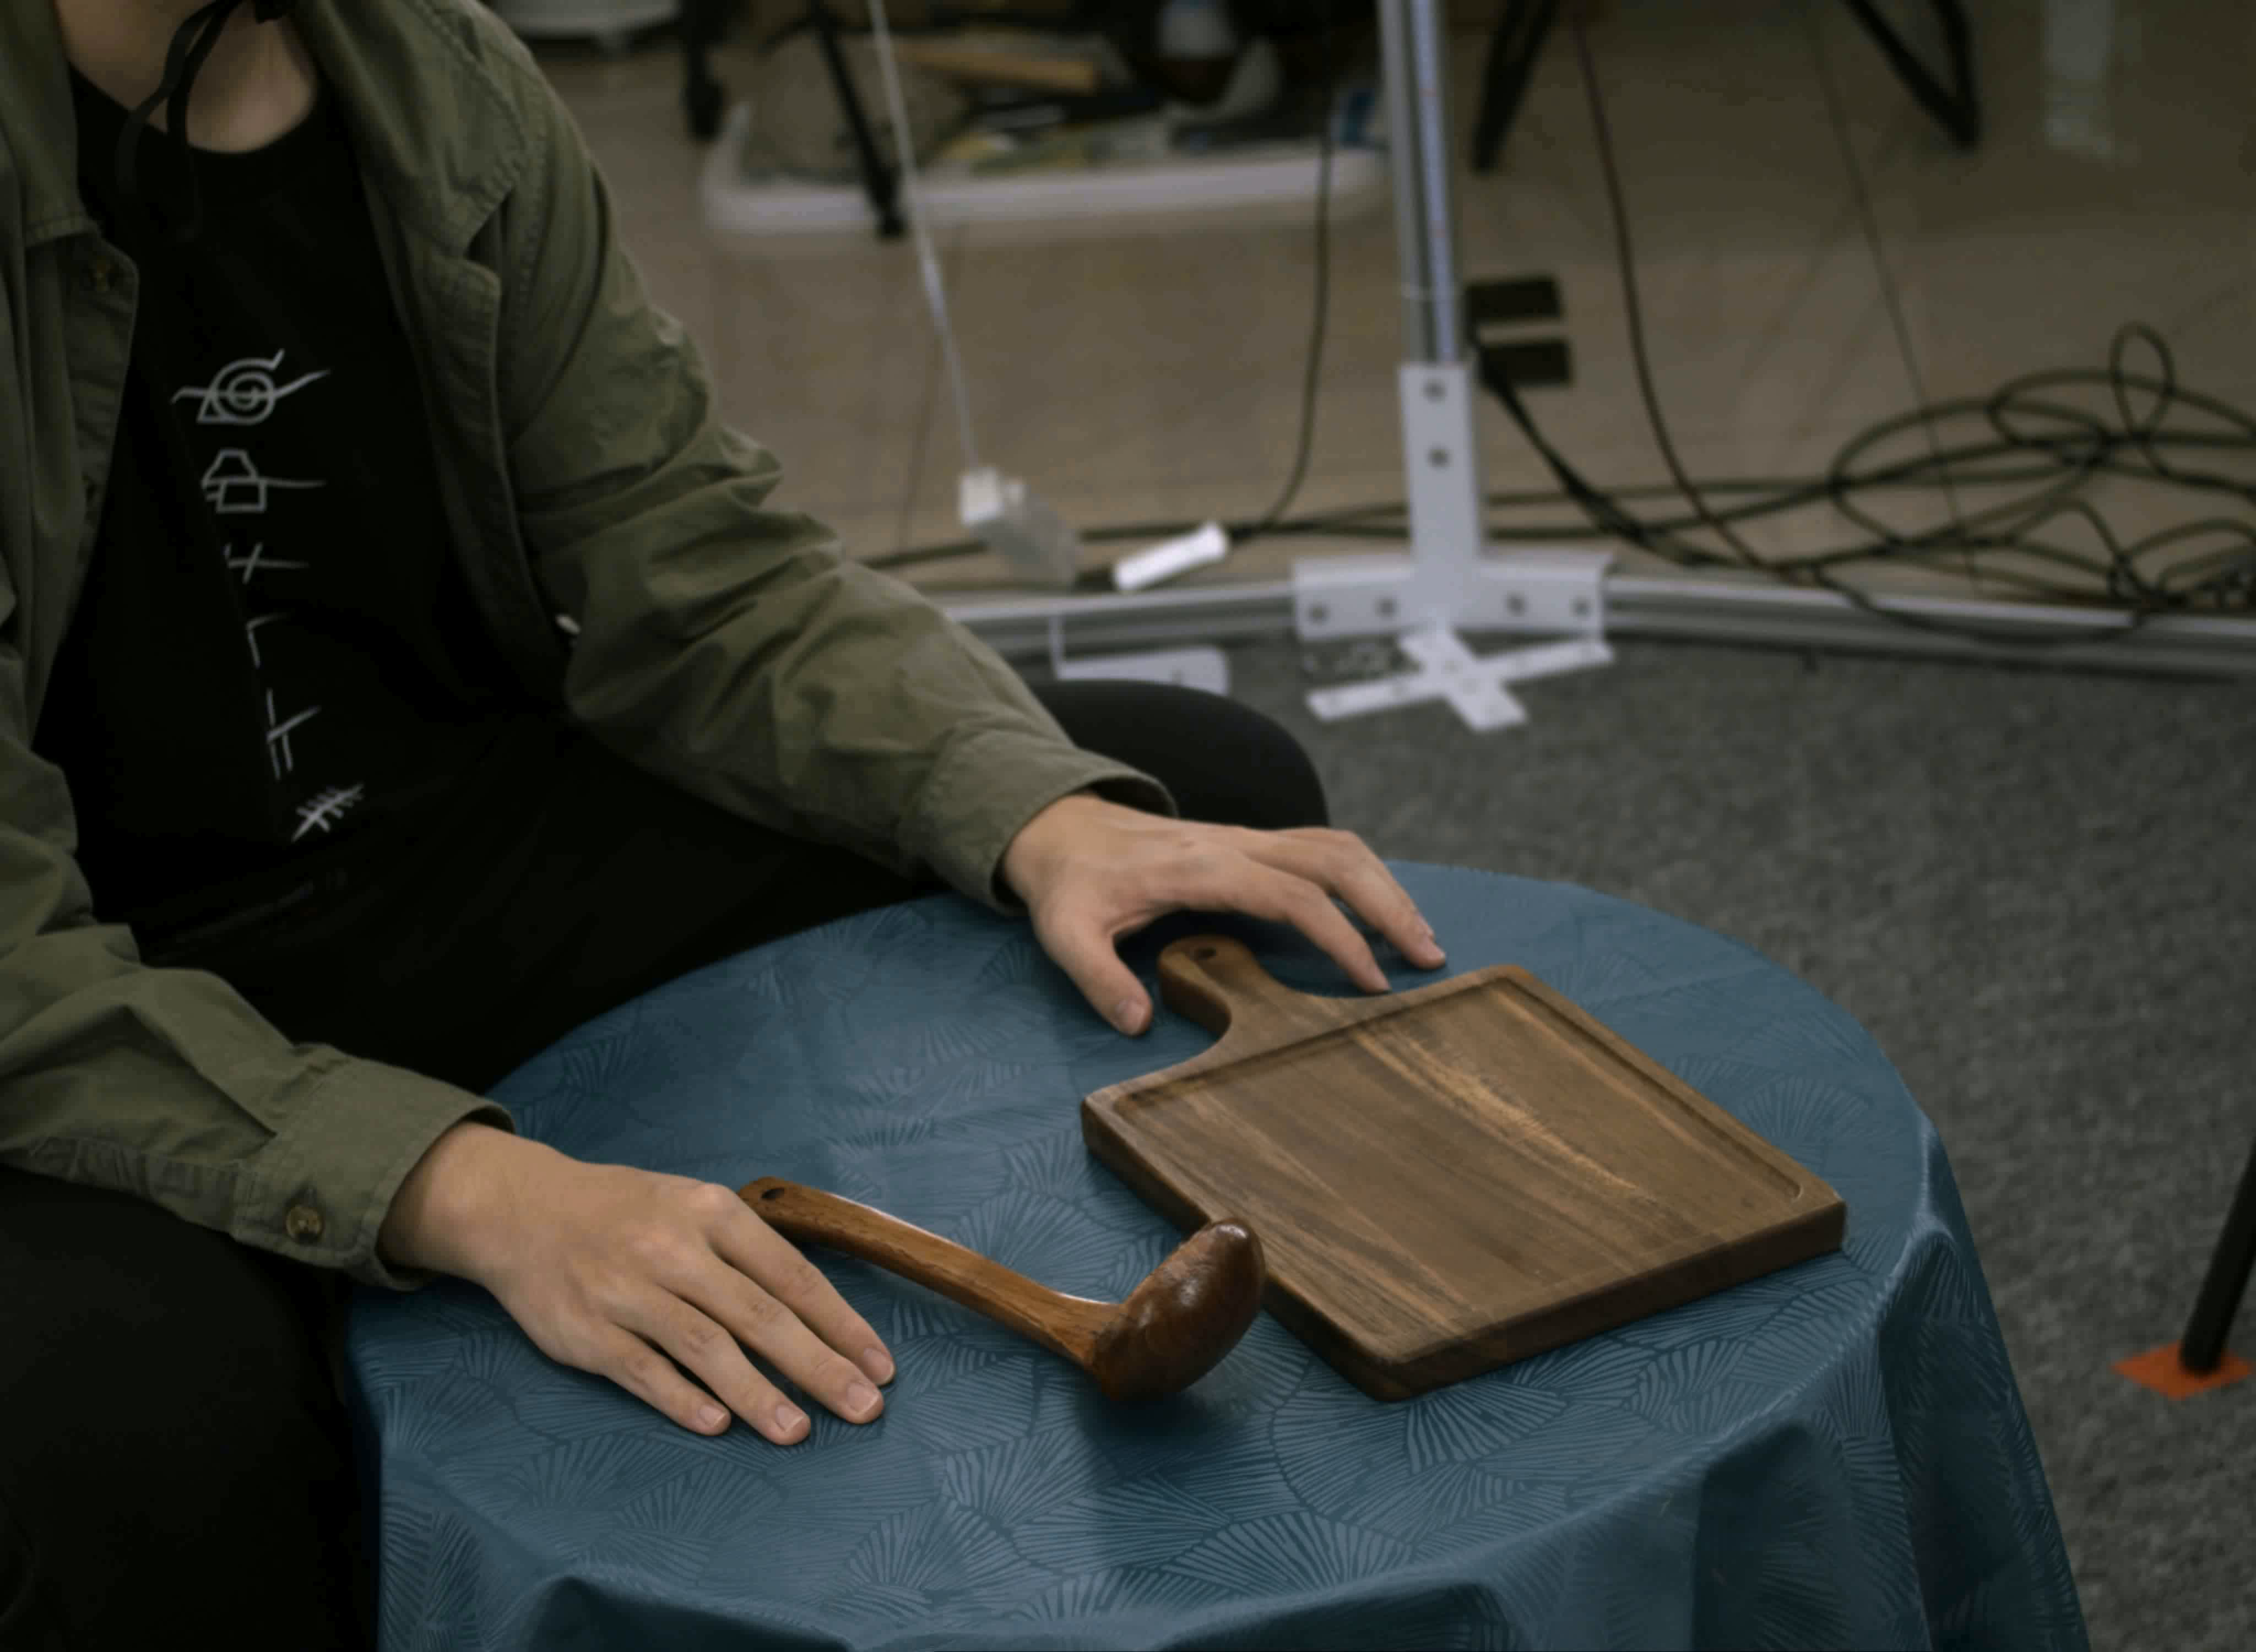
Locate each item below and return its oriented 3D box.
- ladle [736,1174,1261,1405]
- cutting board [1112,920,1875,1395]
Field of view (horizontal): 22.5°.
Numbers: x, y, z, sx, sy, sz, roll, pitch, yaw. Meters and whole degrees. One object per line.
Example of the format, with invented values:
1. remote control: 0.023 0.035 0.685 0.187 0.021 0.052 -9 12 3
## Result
1. ladle: -0.059 0.147 2.060 0.081 0.078 0.272 -32 35 -33
2. cutting board: 0.112 0.108 2.164 0.200 0.023 0.348 -16 27 -20
